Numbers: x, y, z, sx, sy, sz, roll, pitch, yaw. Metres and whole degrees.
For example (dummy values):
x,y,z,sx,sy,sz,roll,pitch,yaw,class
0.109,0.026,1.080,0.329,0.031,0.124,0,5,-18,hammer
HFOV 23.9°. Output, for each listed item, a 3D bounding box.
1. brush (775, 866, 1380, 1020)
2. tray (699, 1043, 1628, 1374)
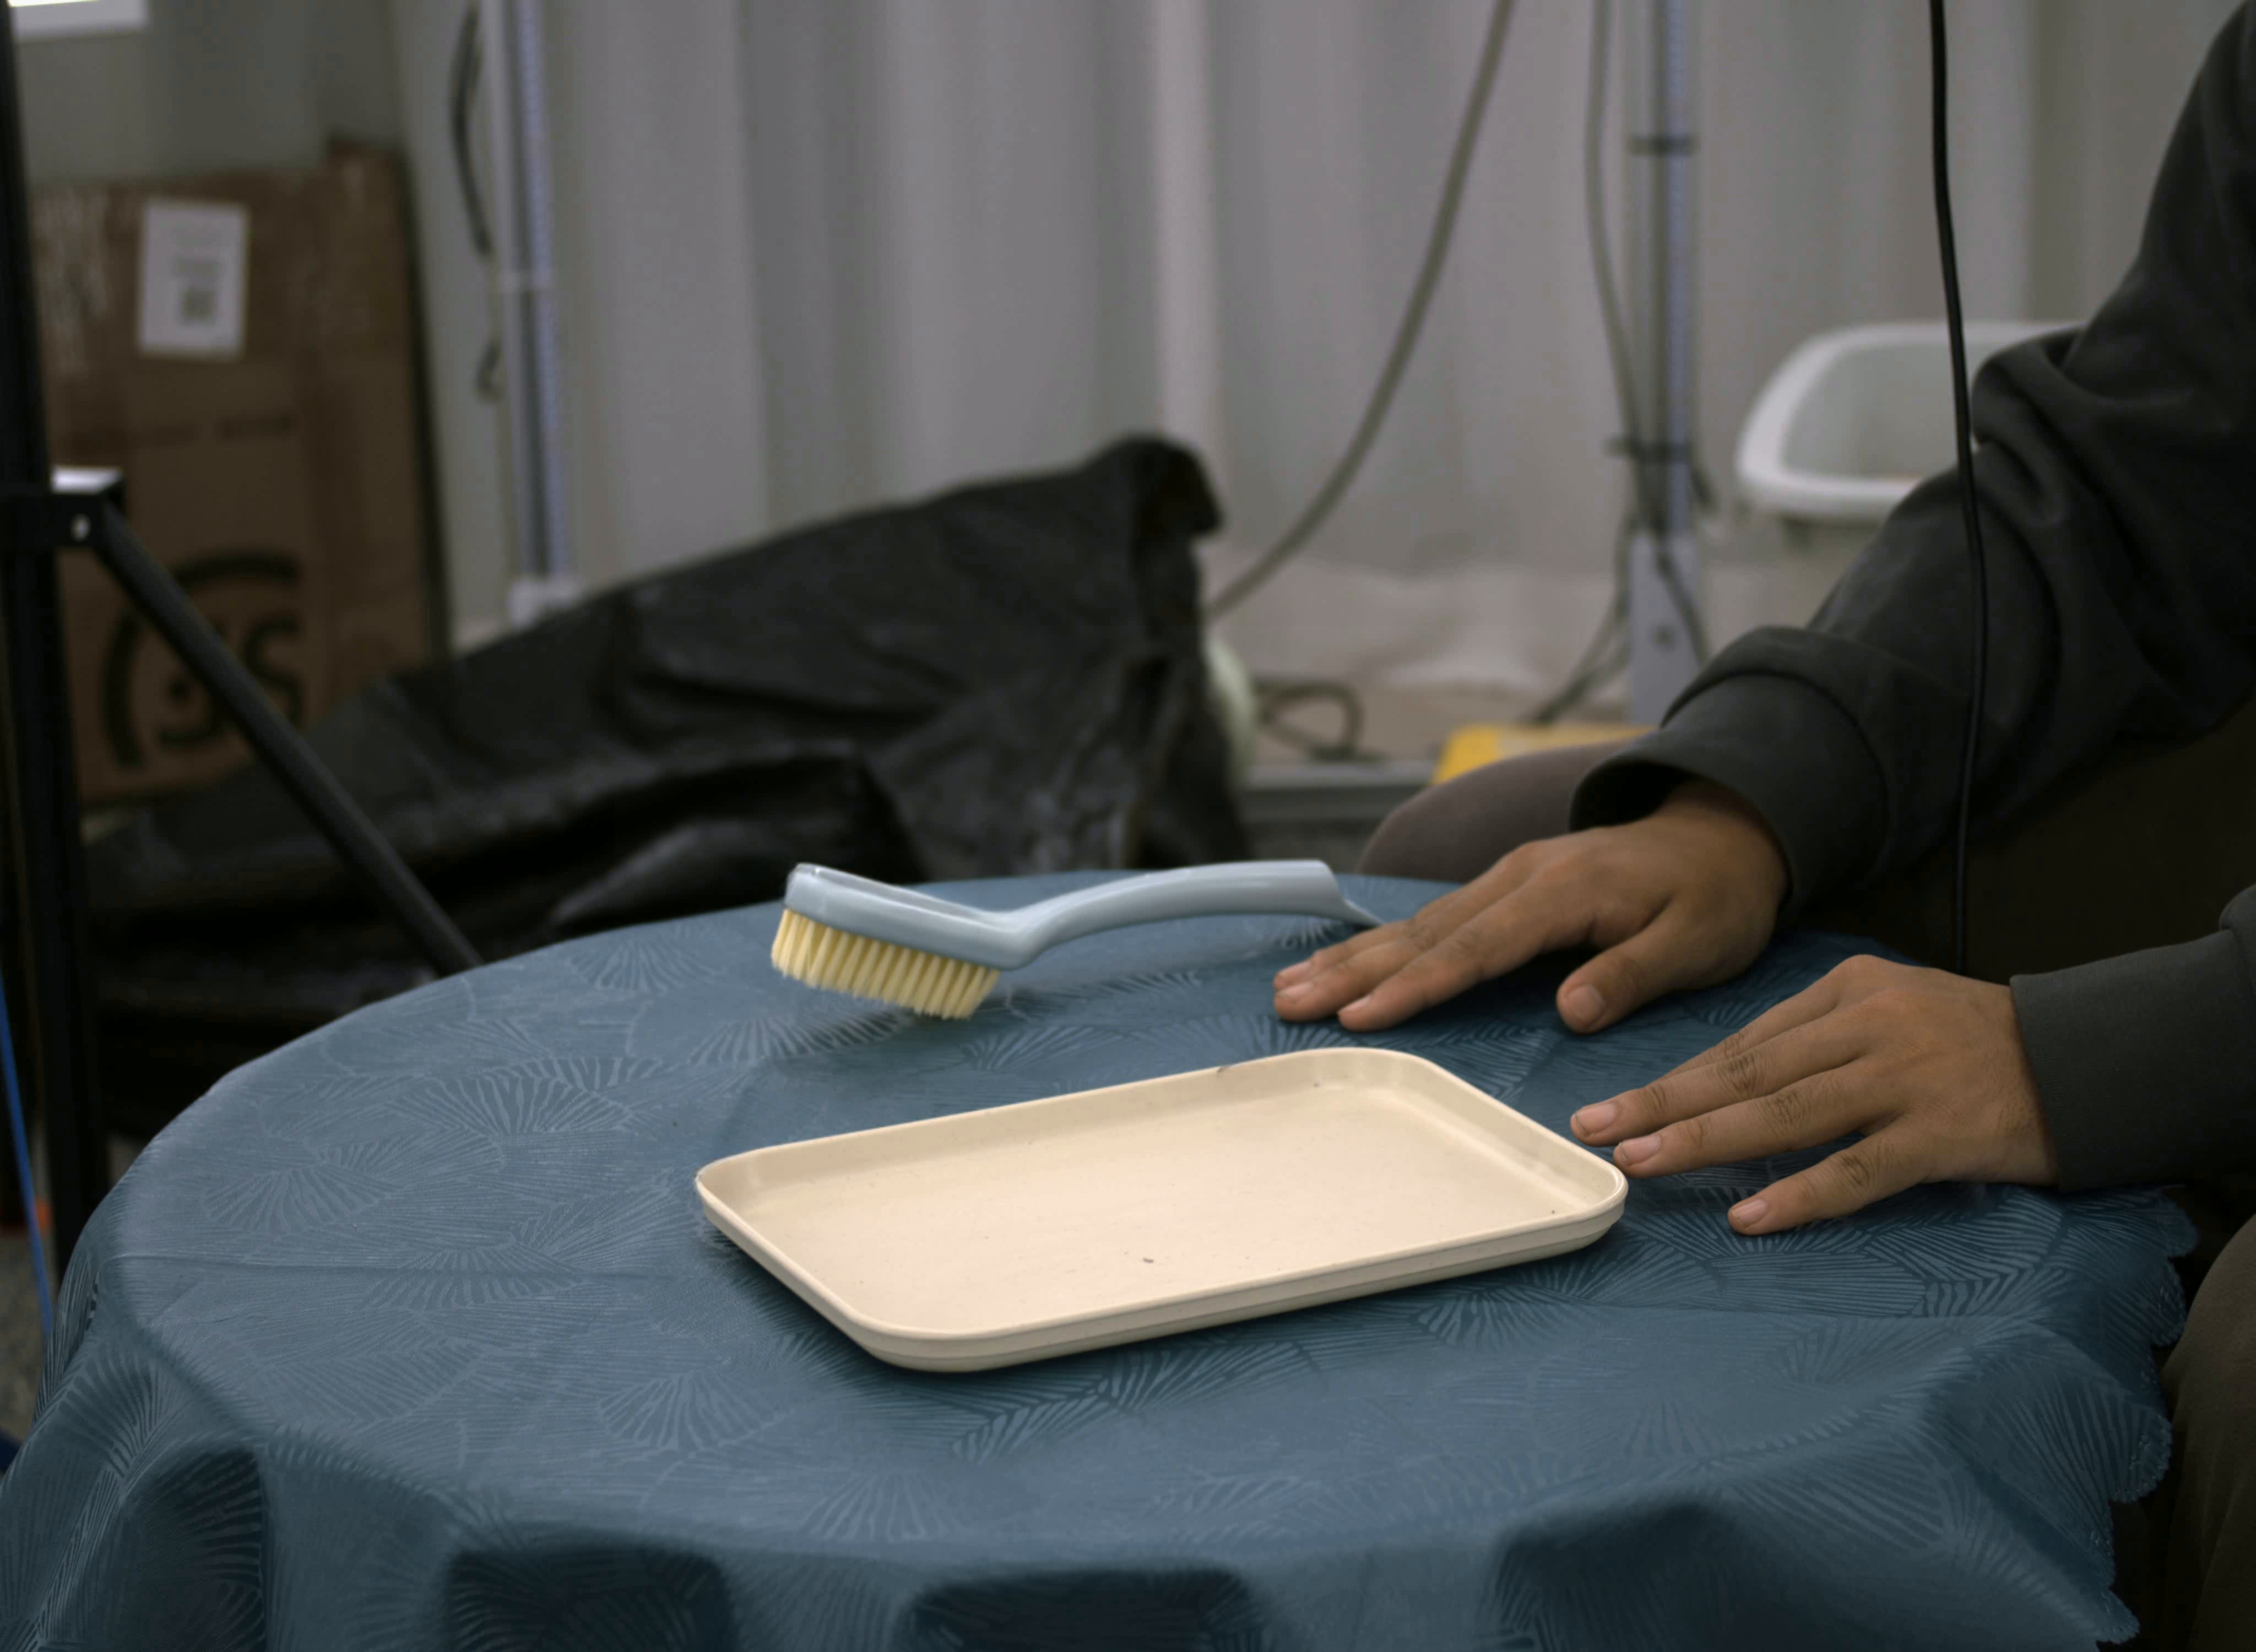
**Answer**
x,y,z,sx,sy,sz,roll,pitch,yaw,class
-0.014,0.037,1.752,0.223,0.050,0.038,-2,19,-31,brush
0.010,0.109,1.519,0.235,0.017,0.174,-9,18,-22,tray
